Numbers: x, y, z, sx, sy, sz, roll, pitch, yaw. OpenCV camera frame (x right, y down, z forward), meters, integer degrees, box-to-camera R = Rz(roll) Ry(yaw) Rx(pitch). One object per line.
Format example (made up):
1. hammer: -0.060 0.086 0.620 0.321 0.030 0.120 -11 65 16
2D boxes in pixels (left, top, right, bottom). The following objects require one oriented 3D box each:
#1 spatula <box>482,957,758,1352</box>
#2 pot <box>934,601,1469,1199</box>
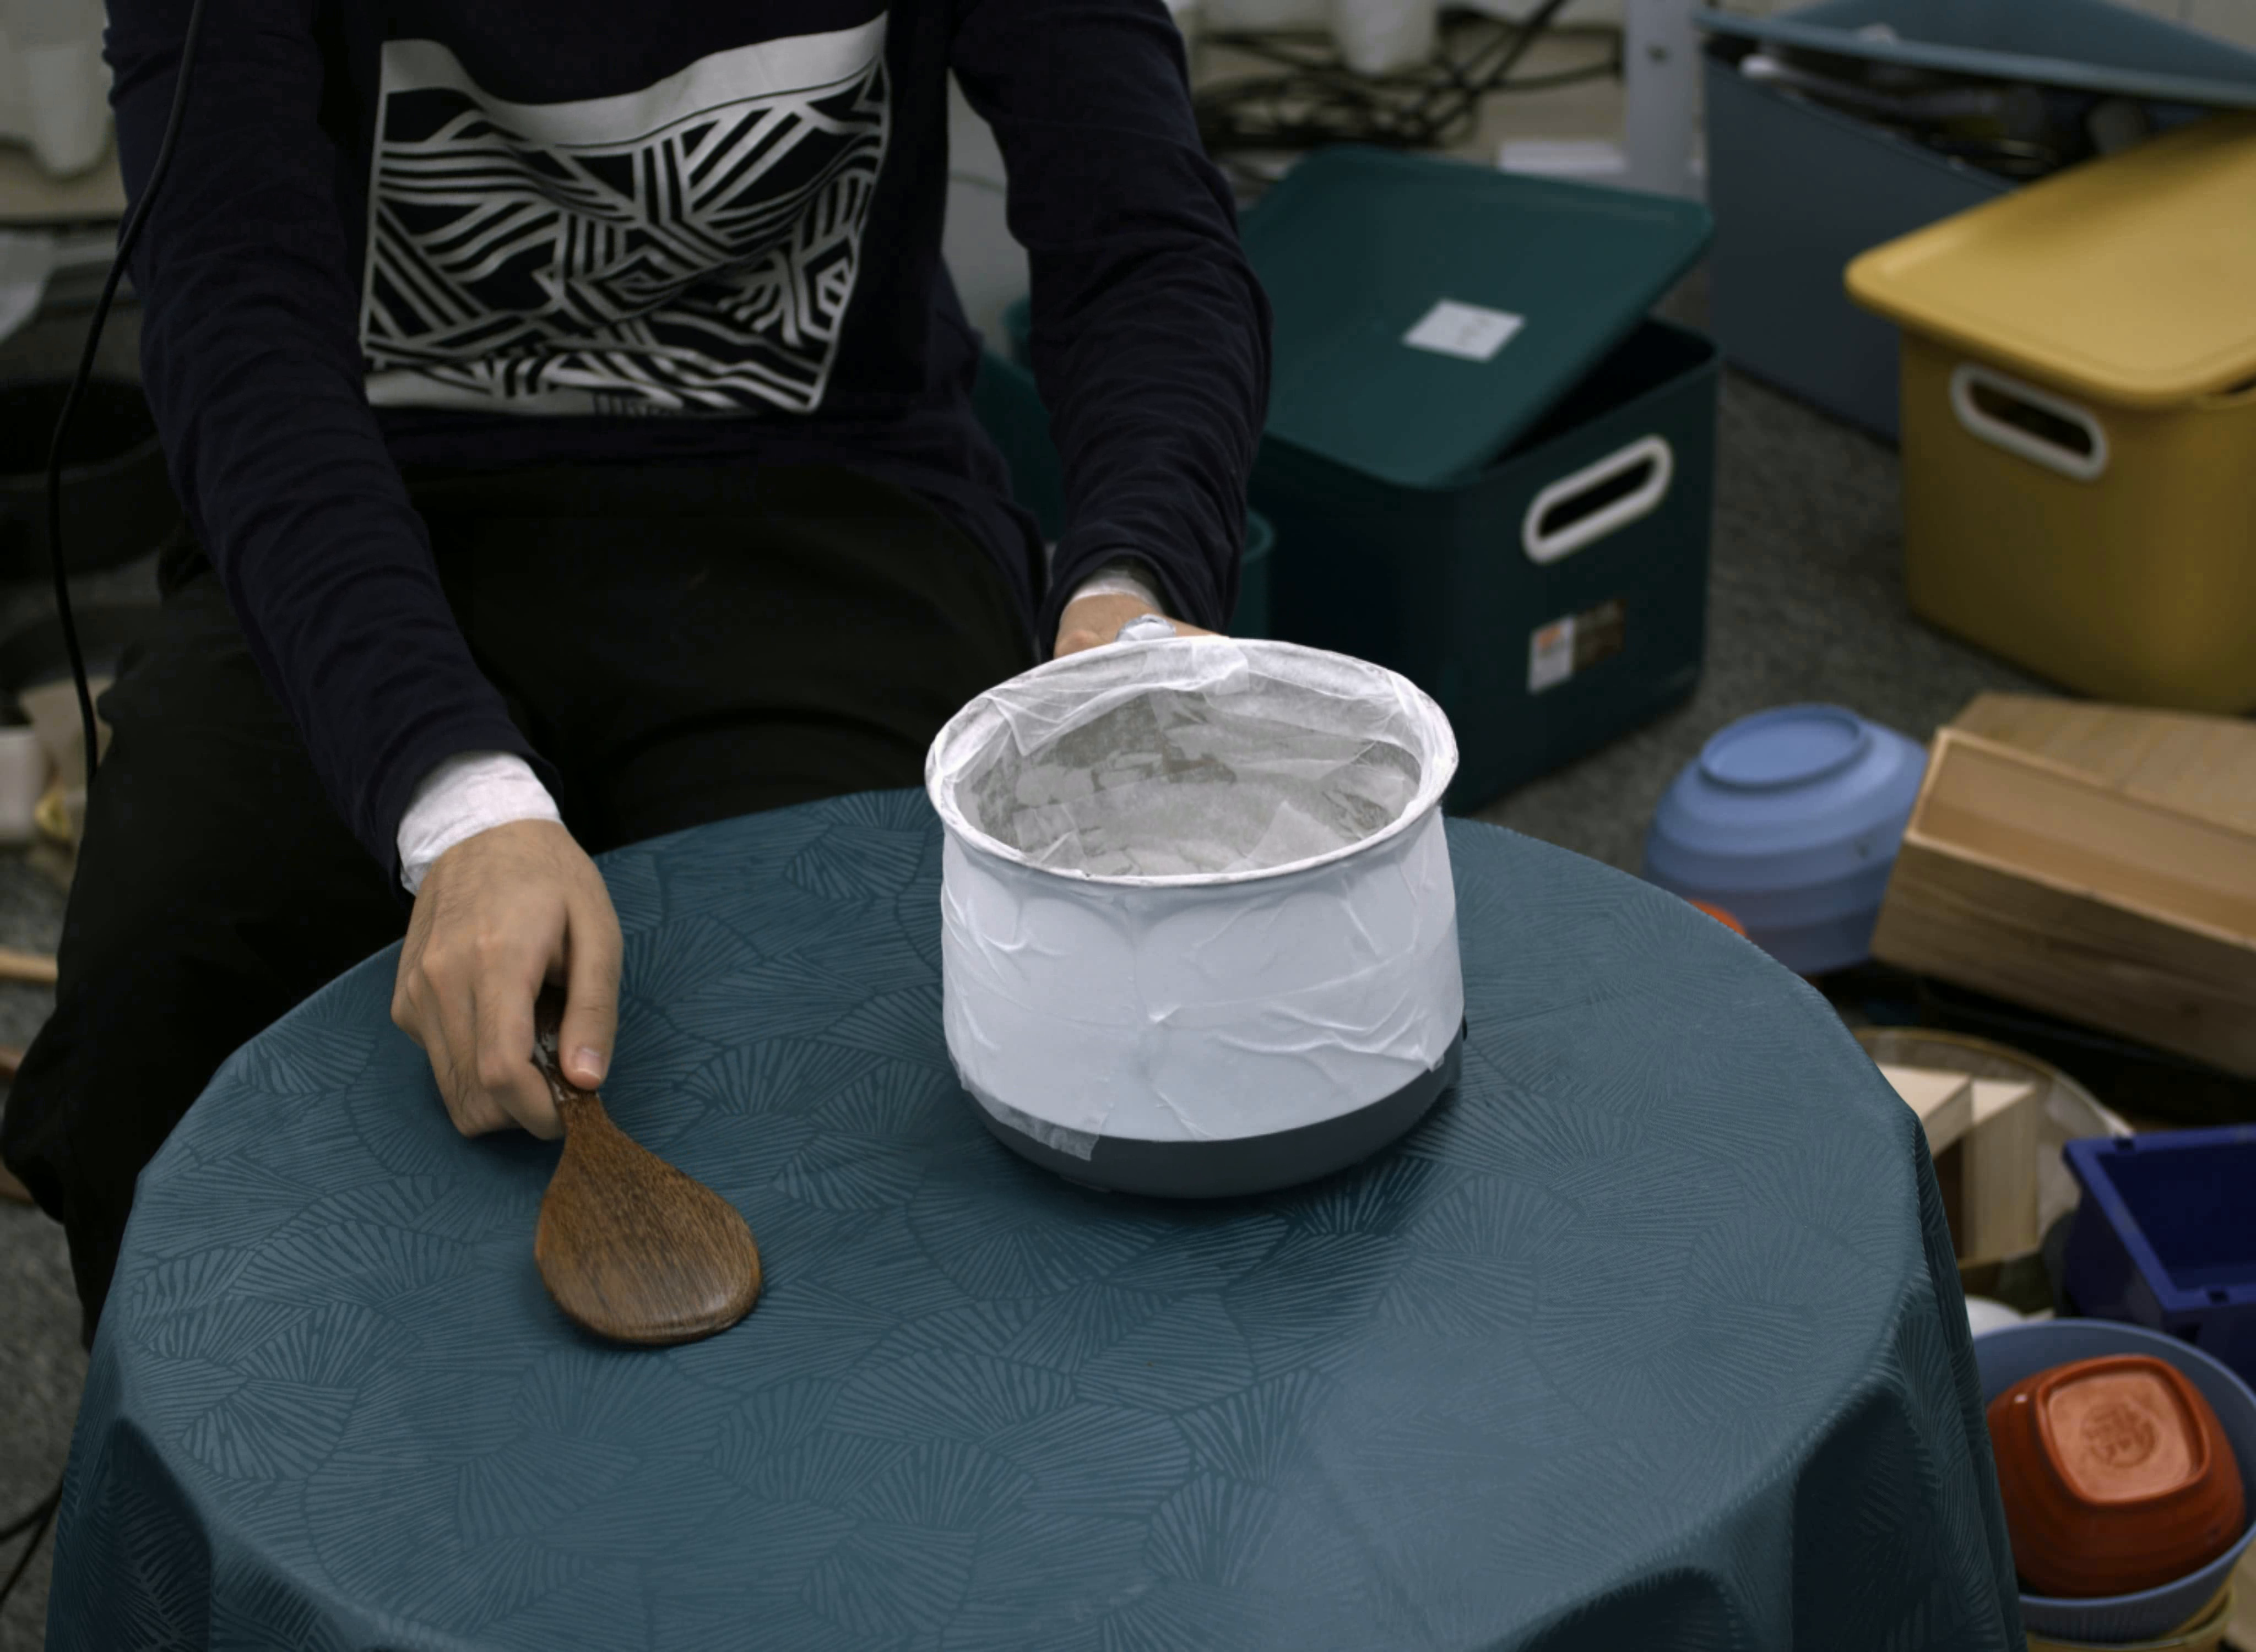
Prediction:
1. spatula: -0.179 0.105 1.871 0.072 0.009 0.218 -8 35 -18
2. pot: 0.019 0.018 1.908 0.178 0.135 0.237 -4 29 -9
